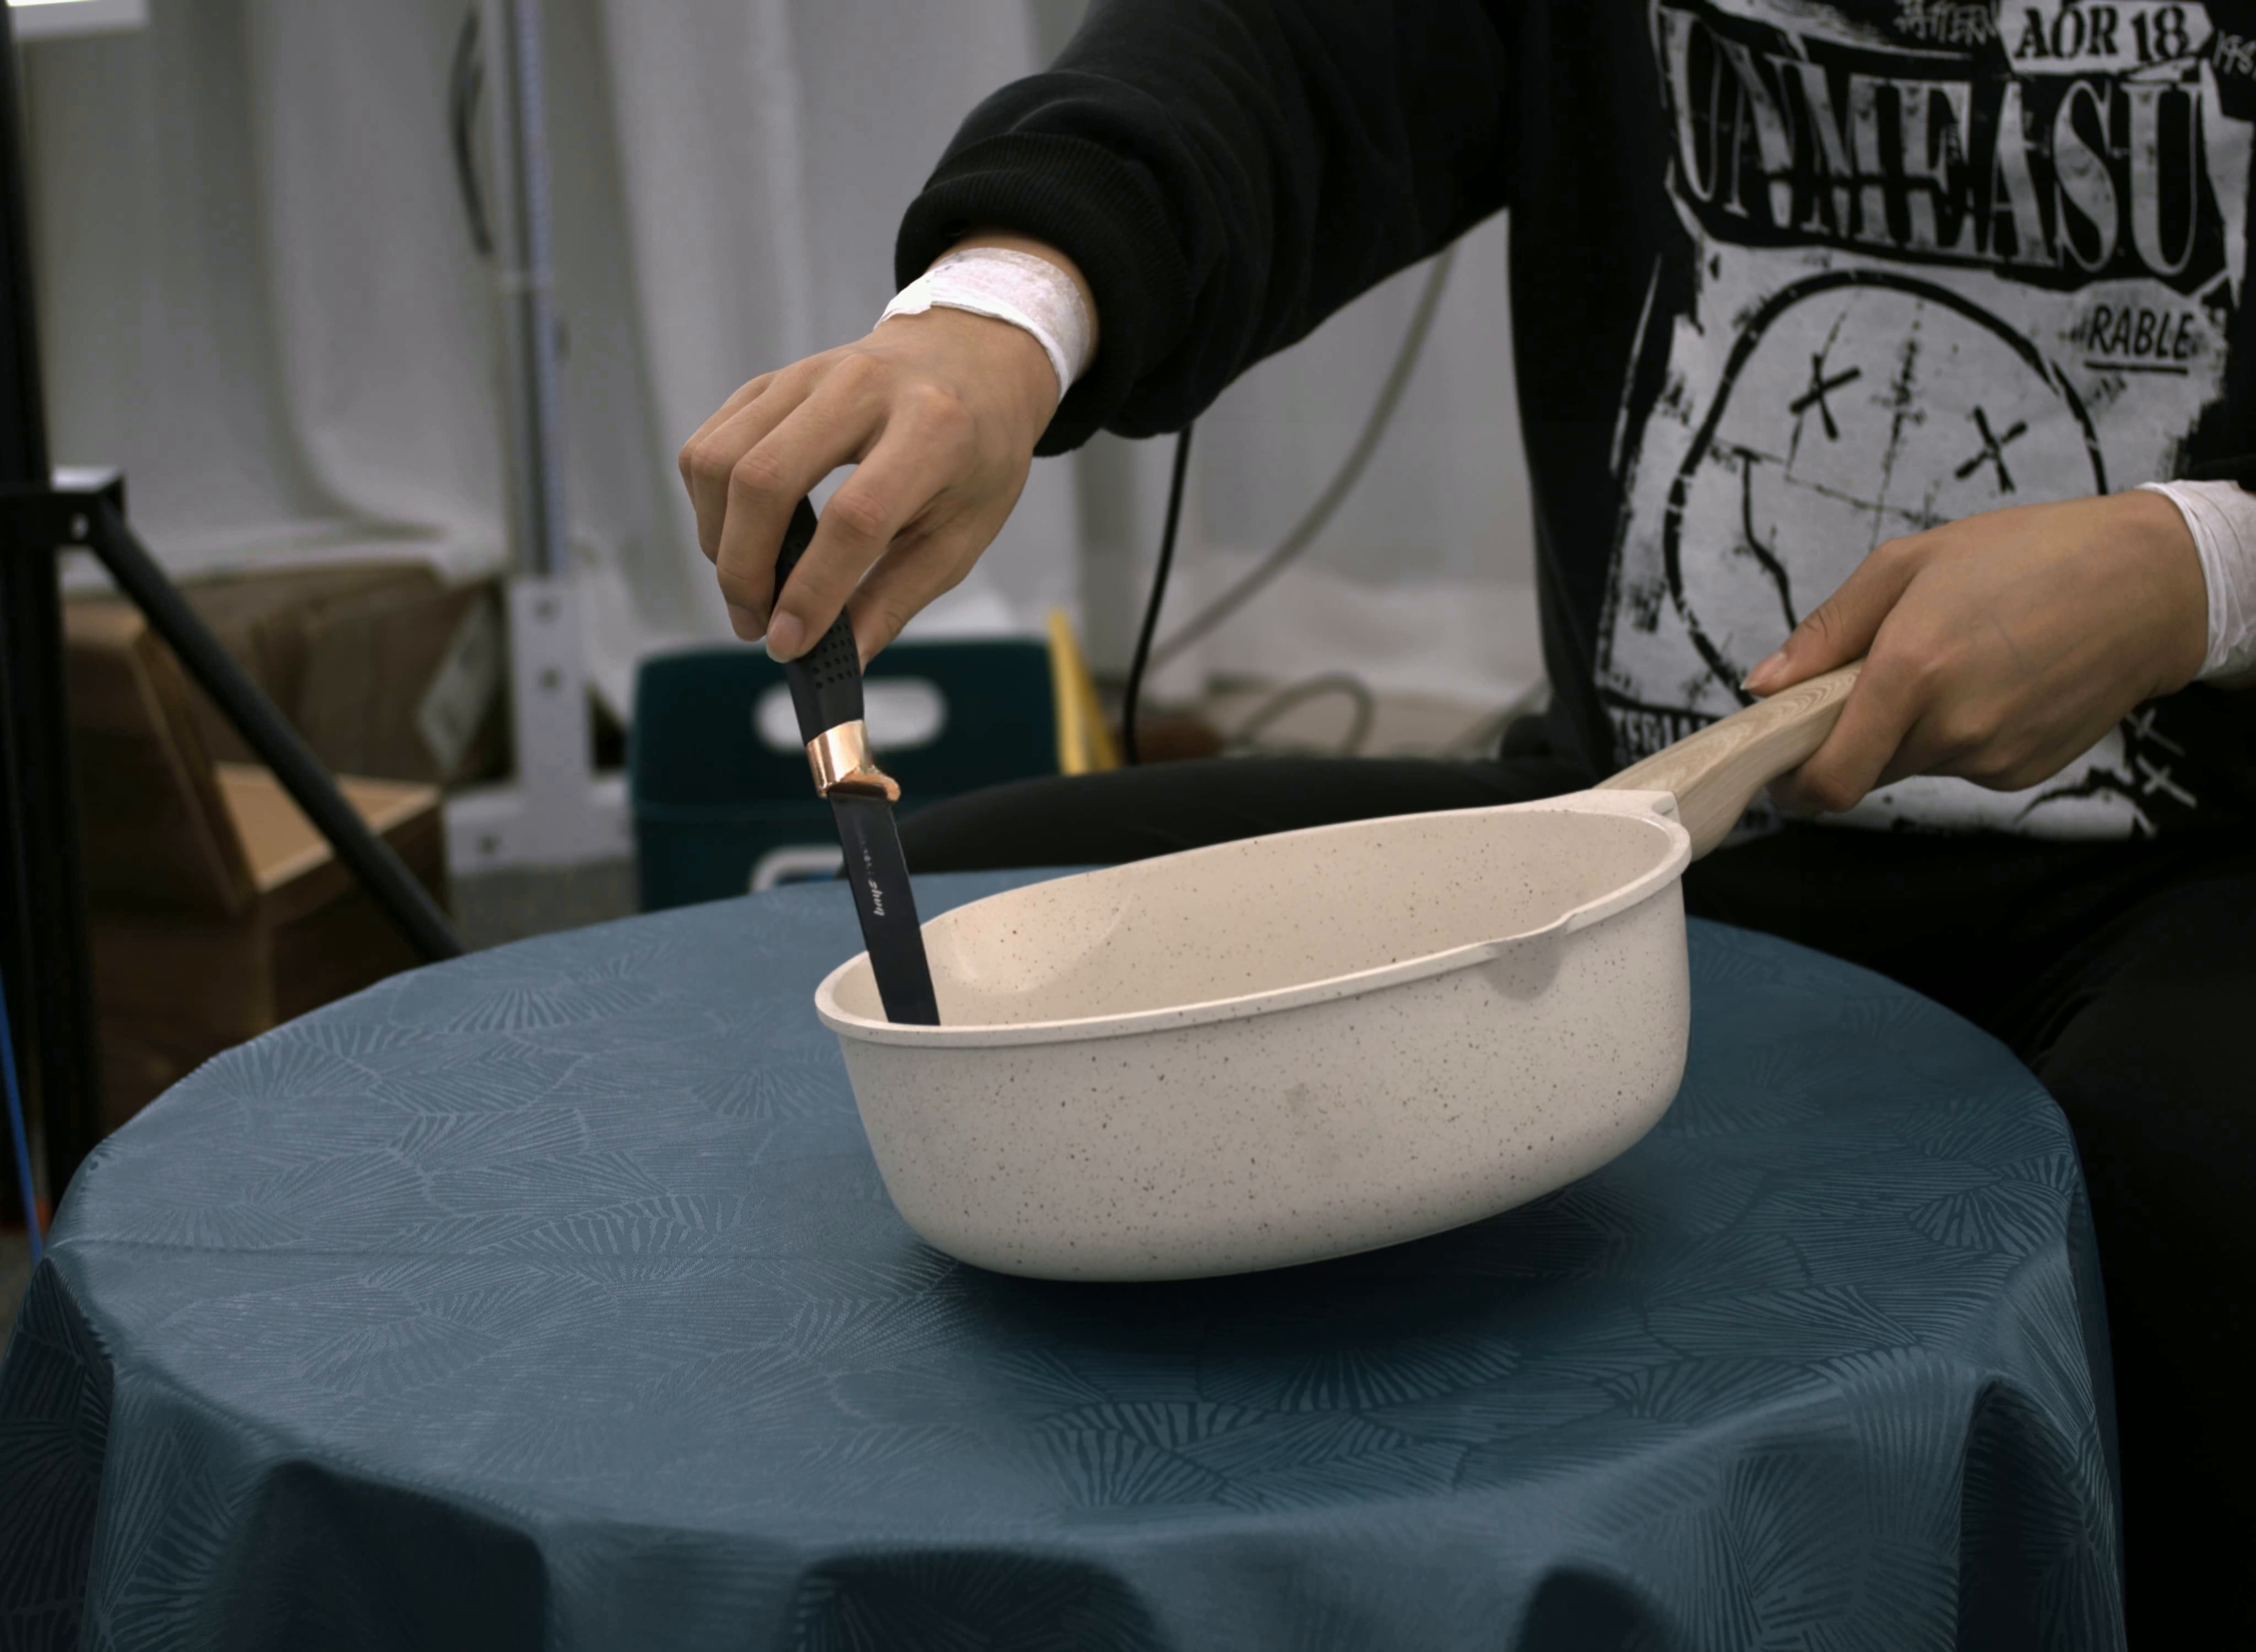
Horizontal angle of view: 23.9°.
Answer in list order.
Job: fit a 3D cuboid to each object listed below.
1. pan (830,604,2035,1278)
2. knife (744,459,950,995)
[{"bbox_3d":[0.117,0.033,1.542,0.425,0.102,0.269,-17,9,-33],"label":"pan"},{"bbox_3d":[-0.073,-0.007,1.484,0.025,0.229,0.017,12,-40,-43],"label":"knife"}]
